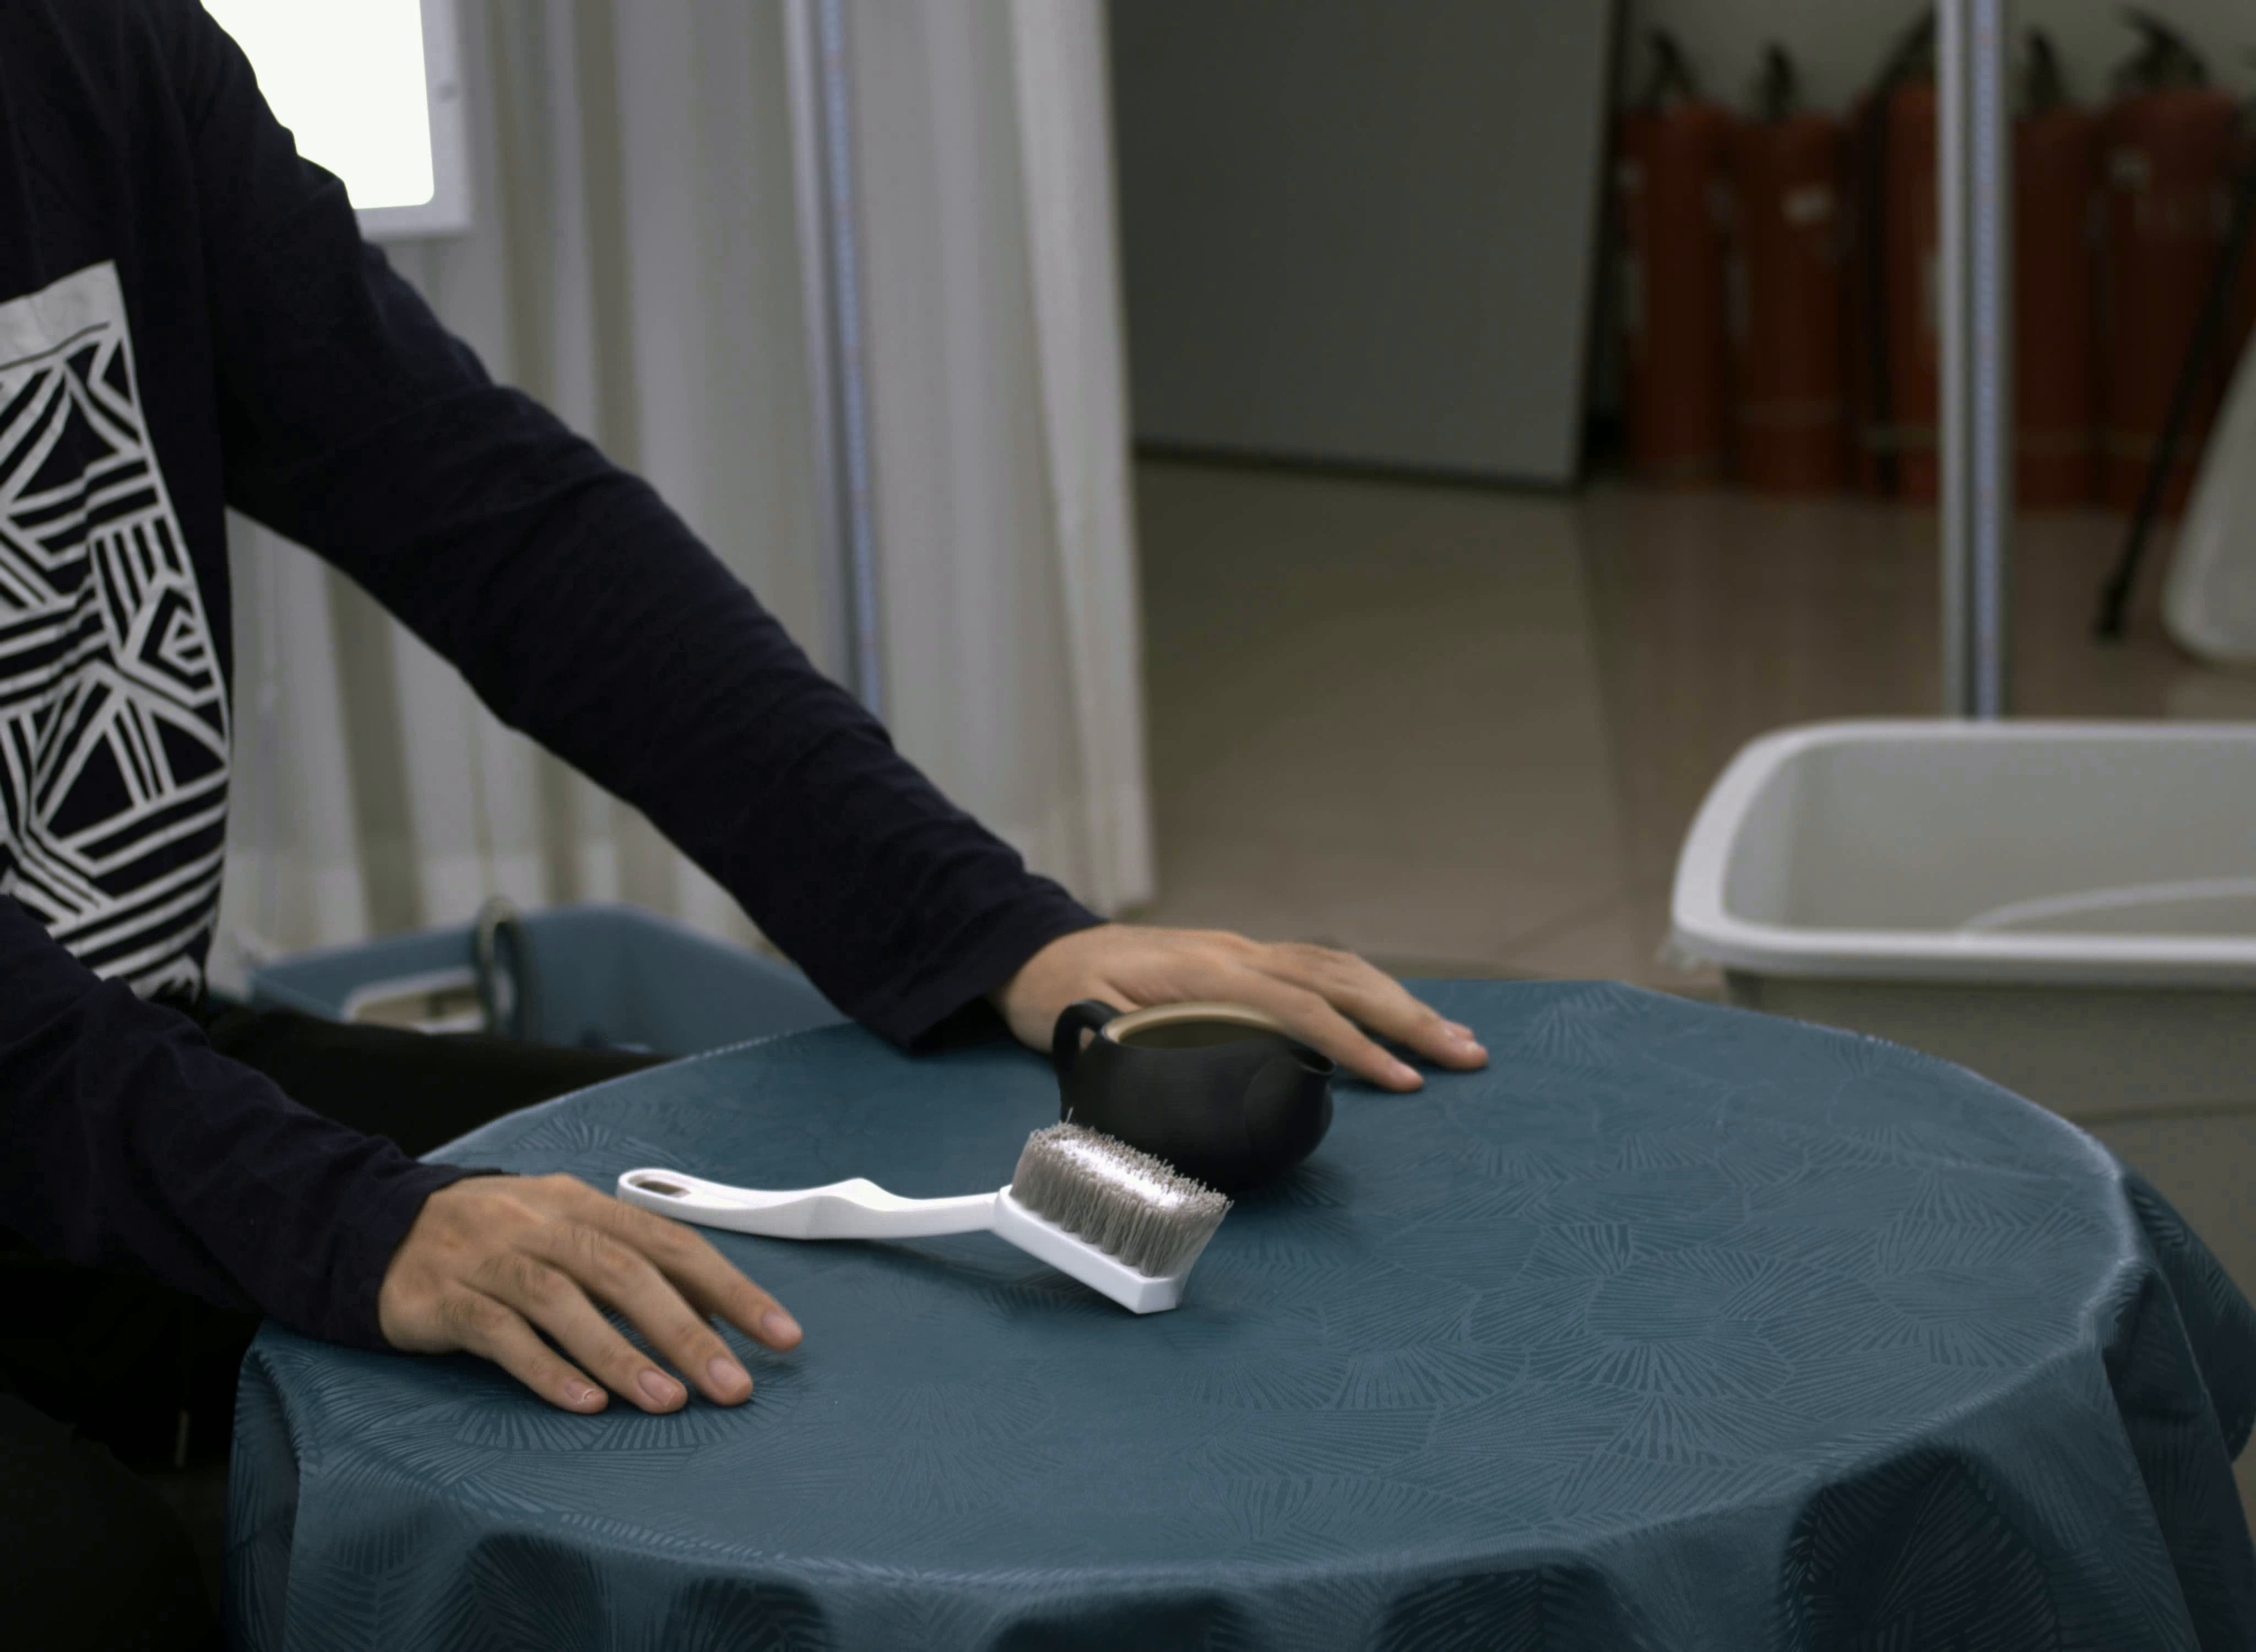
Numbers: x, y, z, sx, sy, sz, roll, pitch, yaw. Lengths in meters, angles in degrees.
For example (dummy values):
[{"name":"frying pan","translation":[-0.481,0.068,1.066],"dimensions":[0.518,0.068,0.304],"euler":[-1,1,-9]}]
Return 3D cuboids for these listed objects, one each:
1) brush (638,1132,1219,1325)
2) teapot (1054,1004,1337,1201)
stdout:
[{"name":"brush","translation":[-0.070,0.115,1.724],"dimensions":[0.246,0.051,0.034],"euler":[8,20,41]},{"name":"teapot","translation":[0.022,0.092,1.779],"dimensions":[0.089,0.053,0.134],"euler":[-12,15,-41]}]
